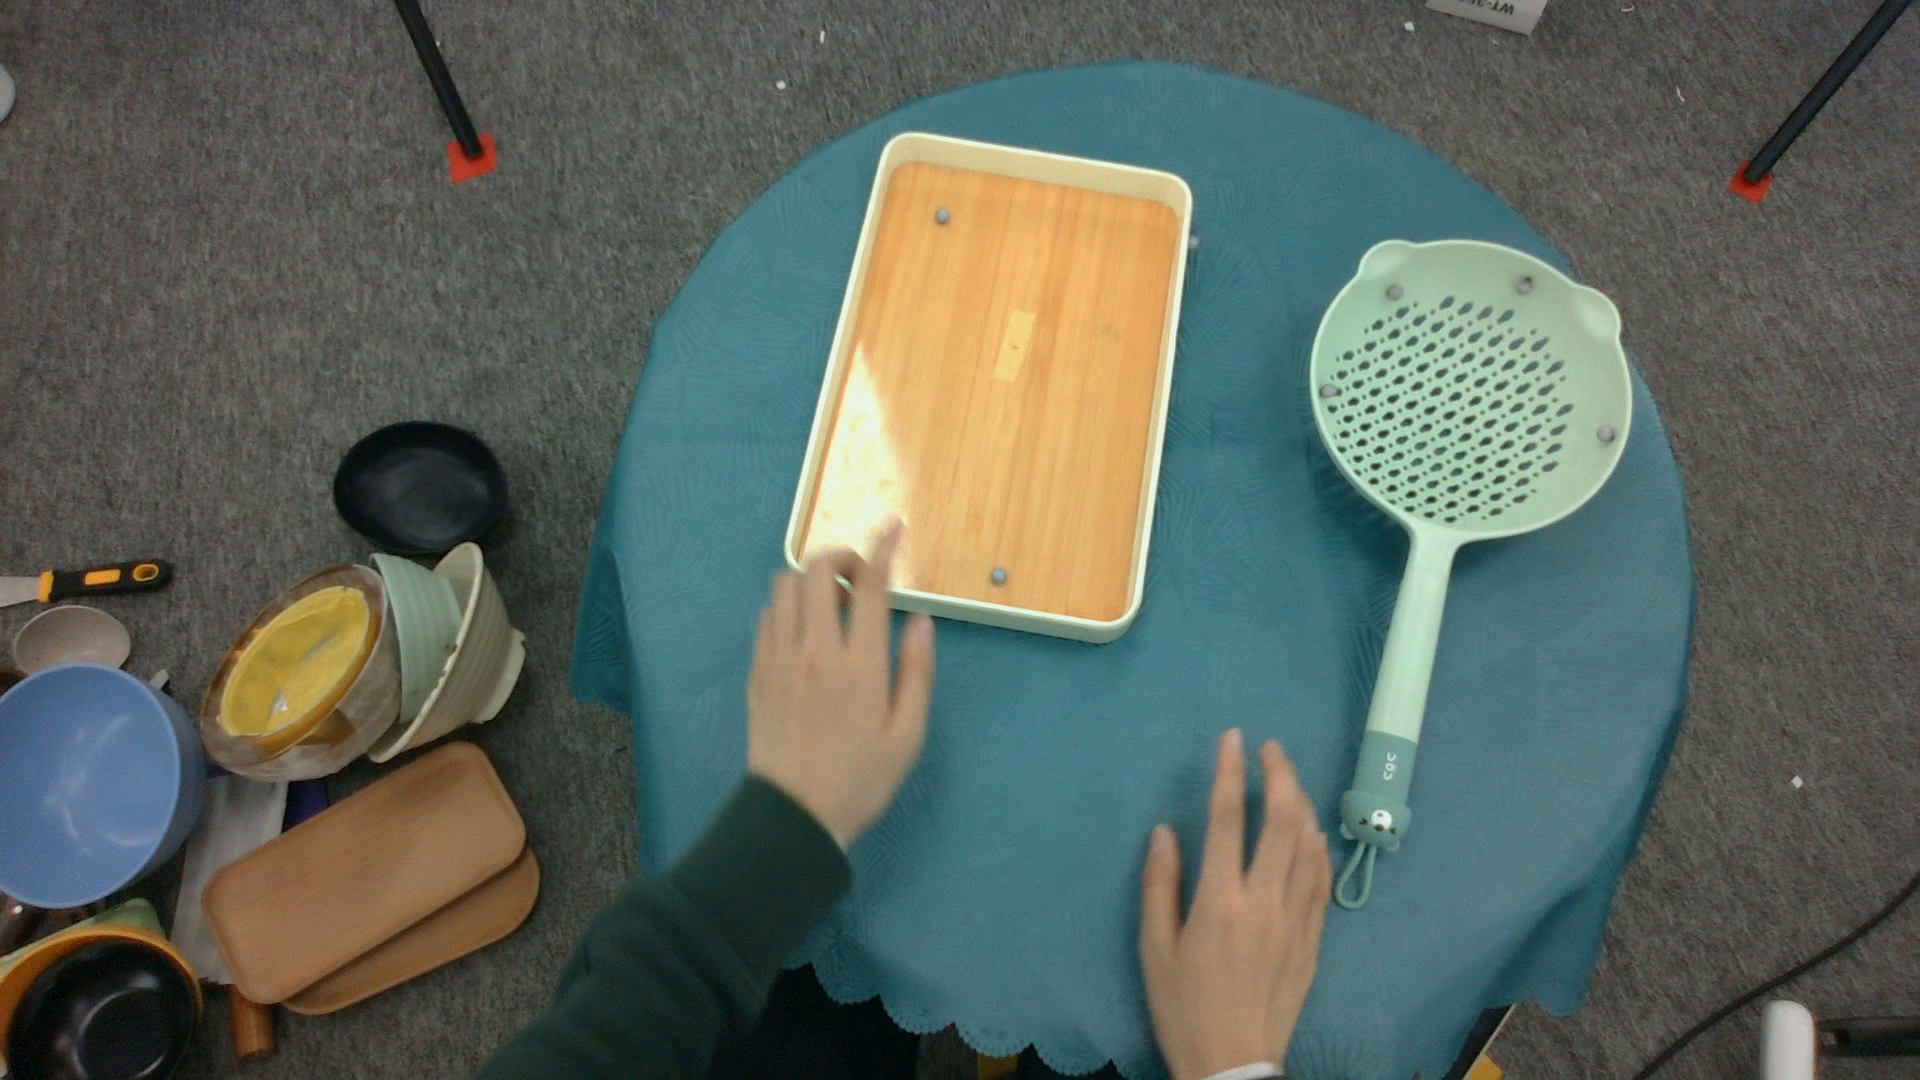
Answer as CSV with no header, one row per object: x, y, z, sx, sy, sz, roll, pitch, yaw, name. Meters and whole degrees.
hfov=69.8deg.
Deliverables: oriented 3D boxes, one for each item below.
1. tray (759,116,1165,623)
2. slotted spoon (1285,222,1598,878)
0.009,-0.106,0.782,0.191,0.027,0.301,10,65,2,tray
0.232,-0.003,0.725,0.169,0.075,0.360,15,65,5,slotted spoon
